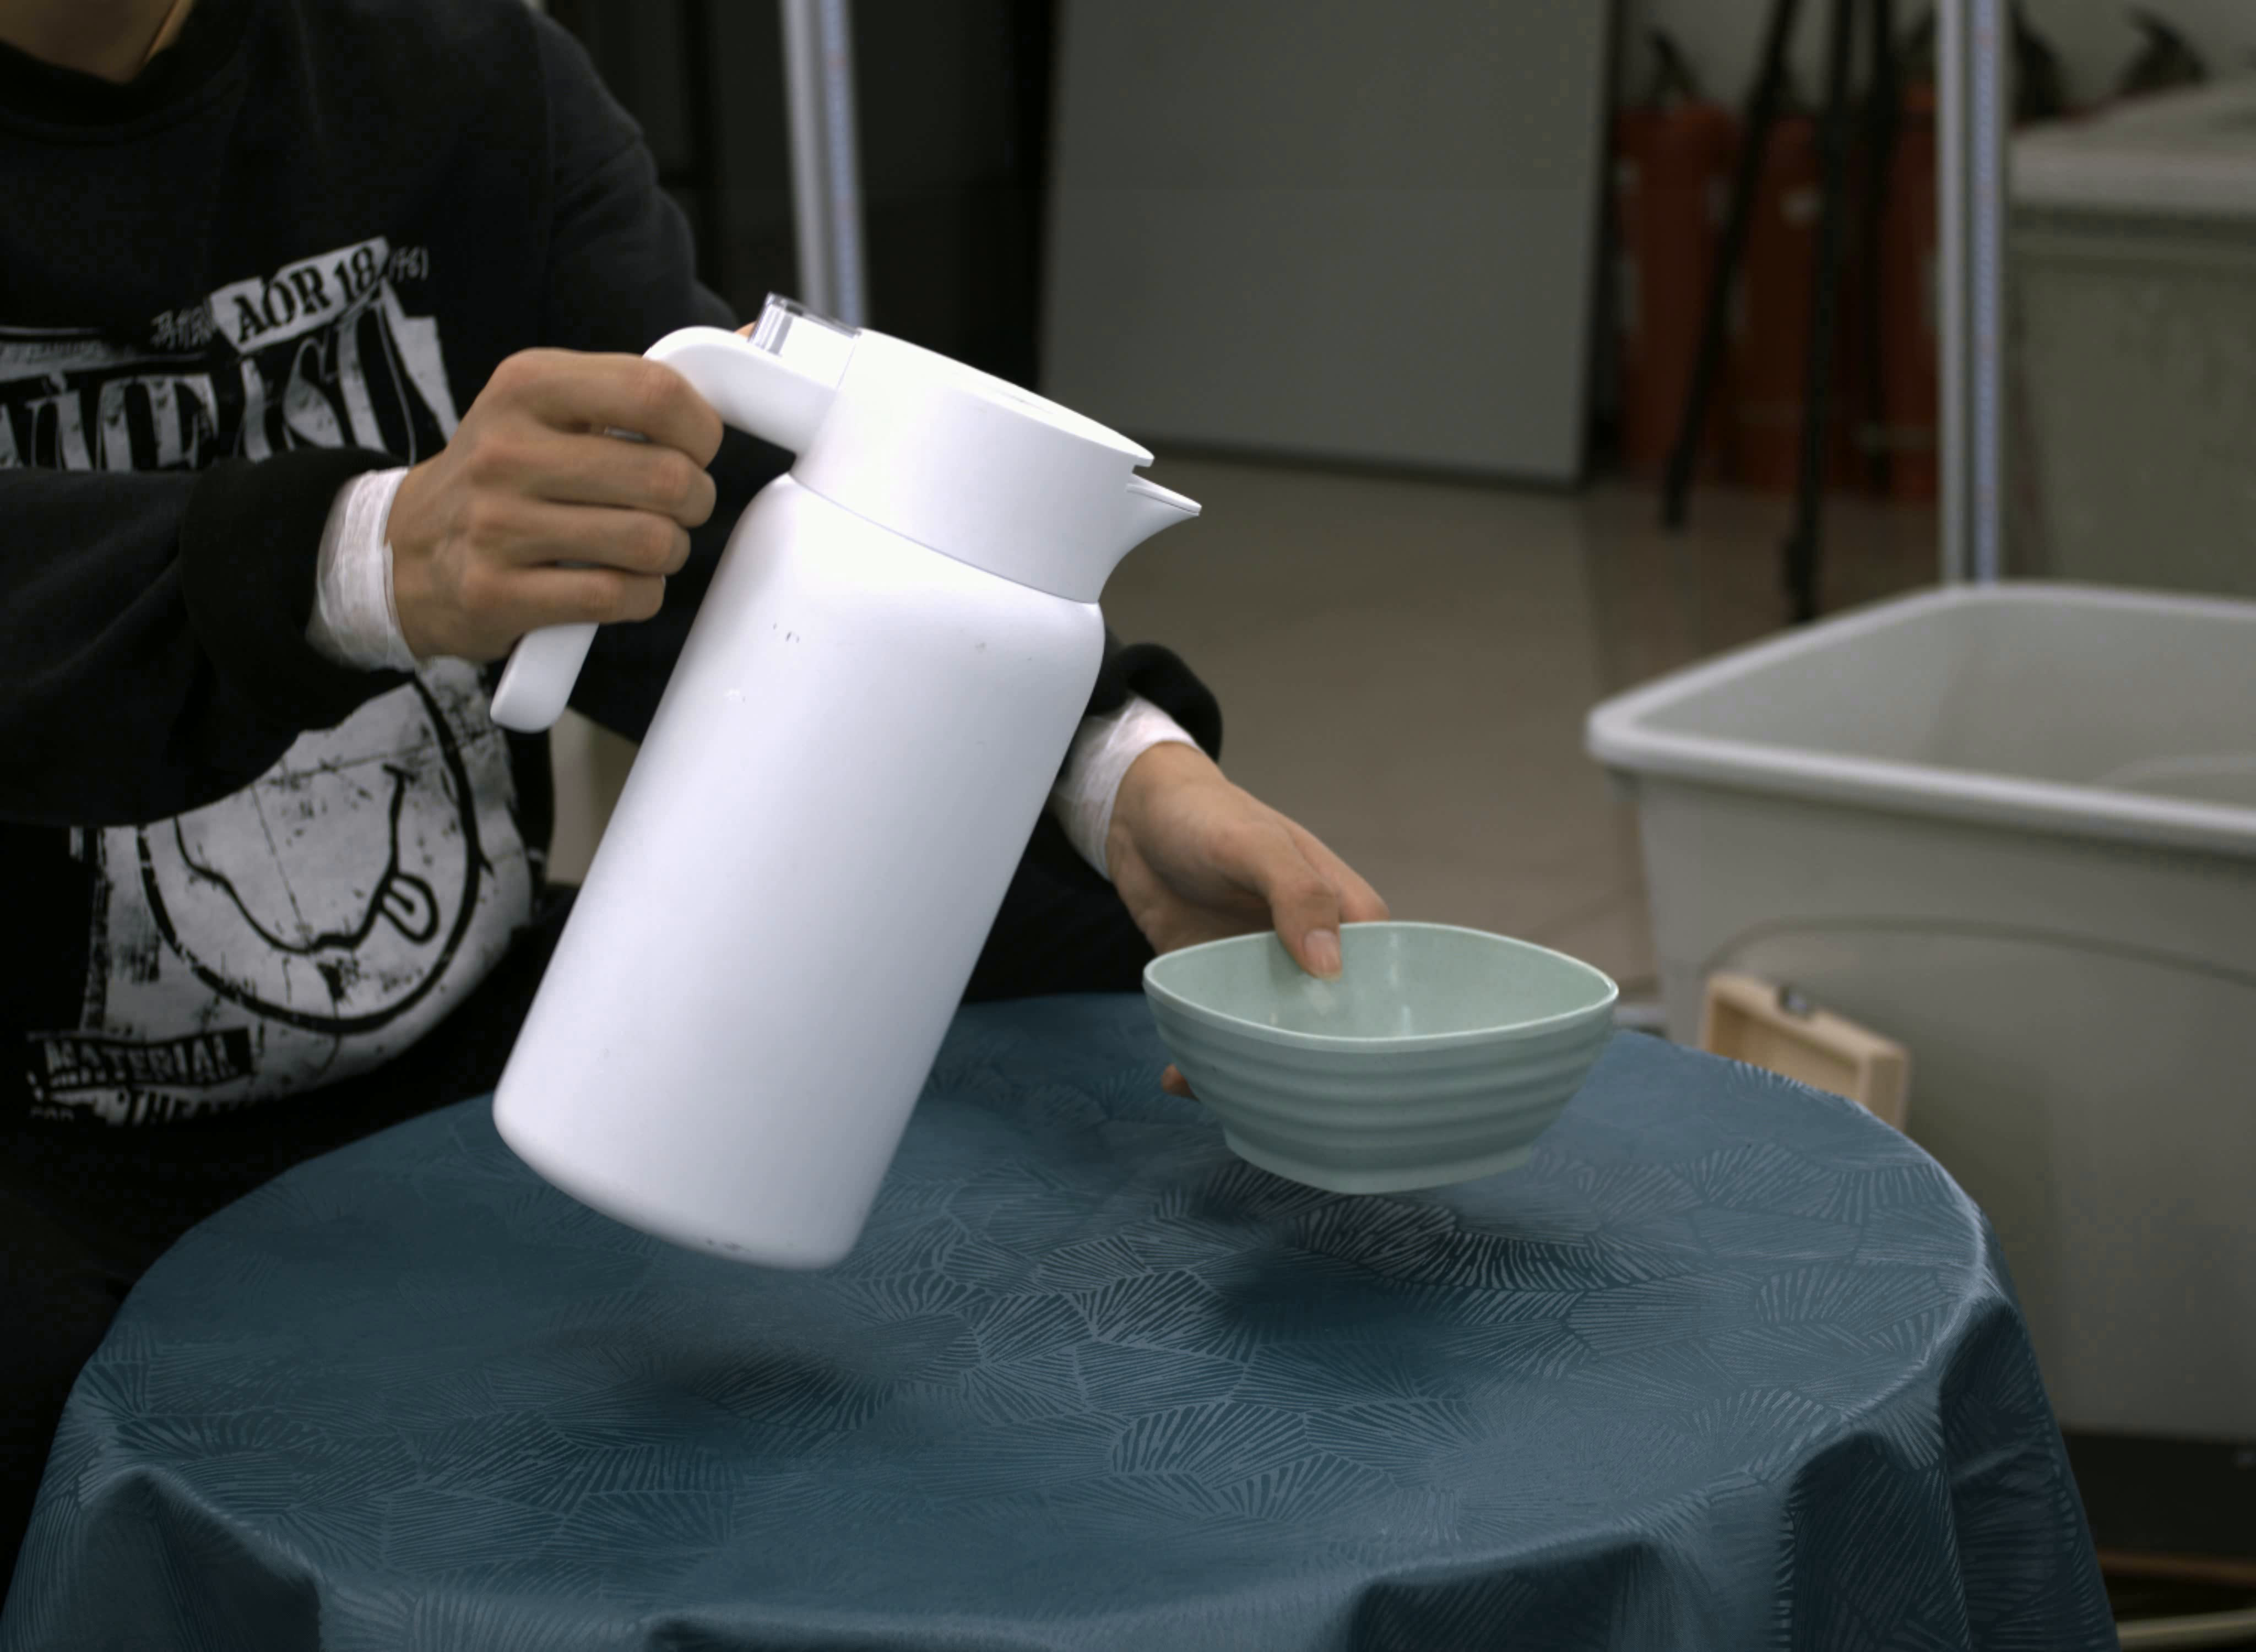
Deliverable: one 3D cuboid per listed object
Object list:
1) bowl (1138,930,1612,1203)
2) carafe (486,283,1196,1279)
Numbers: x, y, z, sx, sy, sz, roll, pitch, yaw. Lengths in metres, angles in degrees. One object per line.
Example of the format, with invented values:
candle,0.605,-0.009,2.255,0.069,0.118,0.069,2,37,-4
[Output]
bowl,0.077,0.077,1.690,0.149,0.059,0.151,0,12,-1
carafe,-0.104,-0.015,1.589,0.170,0.271,0.124,21,9,-9
